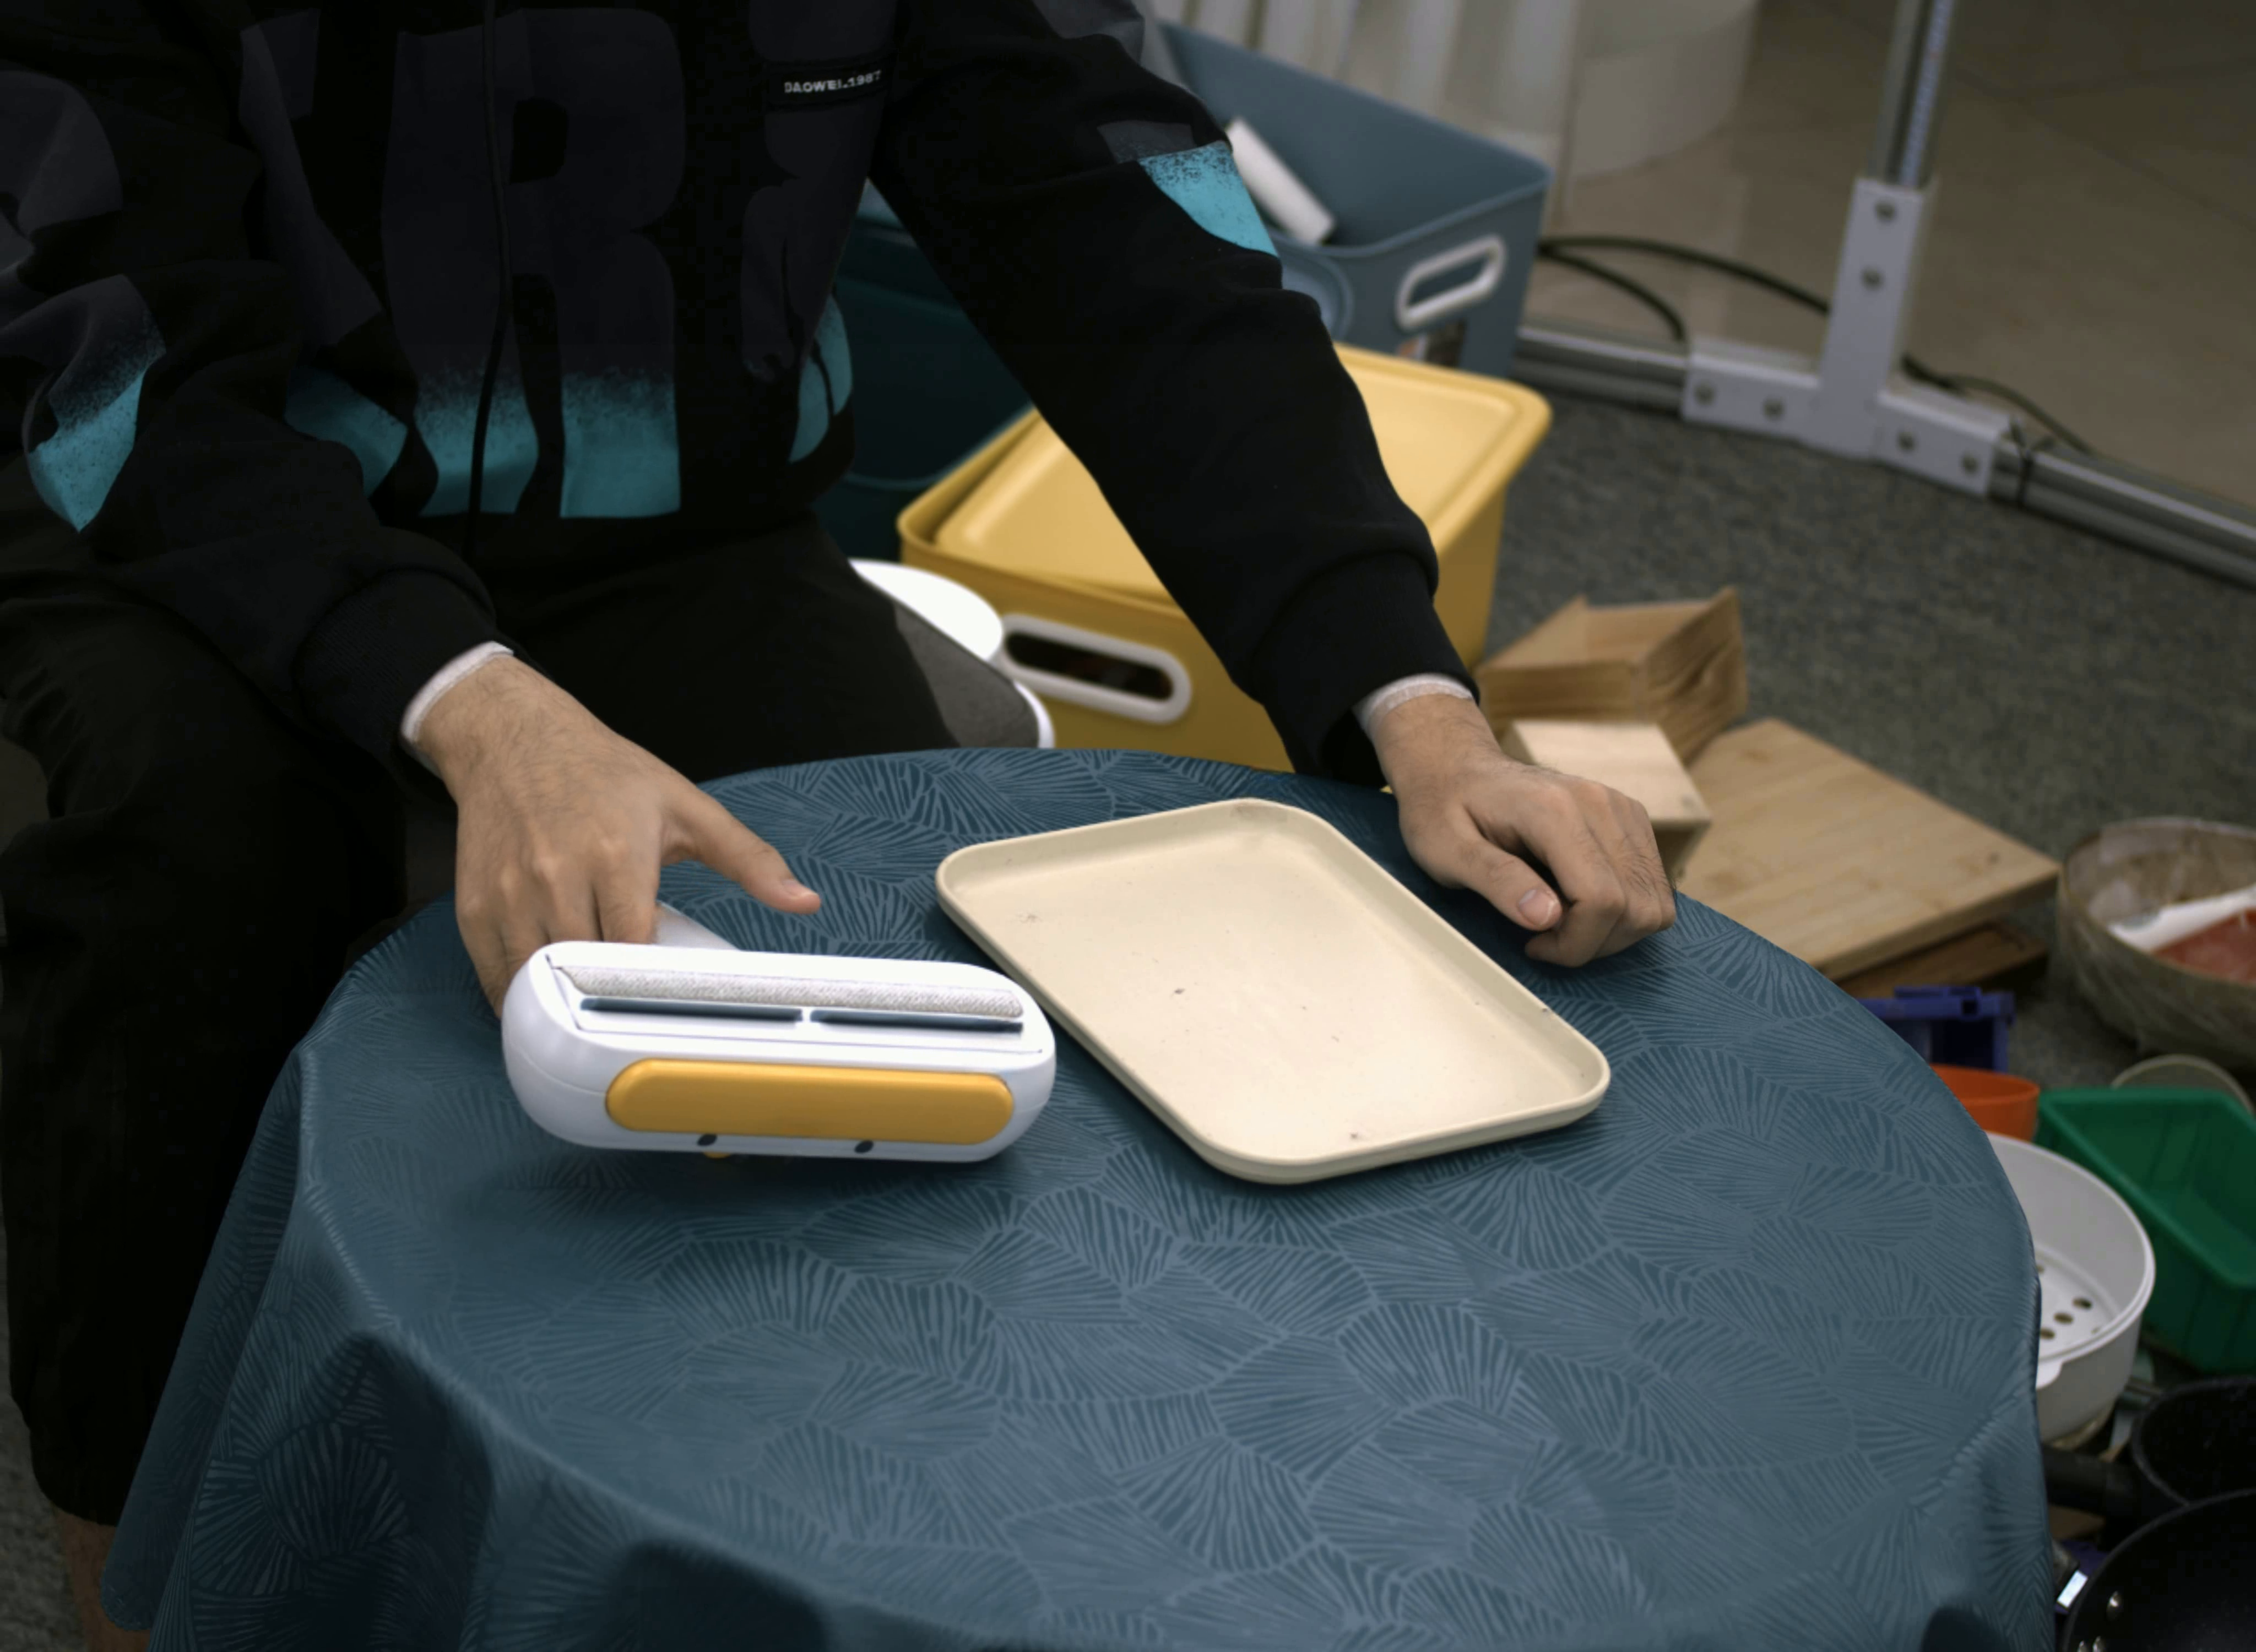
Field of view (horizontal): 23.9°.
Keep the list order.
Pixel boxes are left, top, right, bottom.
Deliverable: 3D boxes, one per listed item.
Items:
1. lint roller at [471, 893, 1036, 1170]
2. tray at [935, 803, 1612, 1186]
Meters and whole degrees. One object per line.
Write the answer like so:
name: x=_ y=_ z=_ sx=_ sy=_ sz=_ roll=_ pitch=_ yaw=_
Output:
lint roller: x=-0.144 y=0.057 z=1.824 sx=0.191 sy=0.074 sz=0.194 roll=1 pitch=25 yaw=-21
tray: x=0.049 y=0.059 z=1.918 sx=0.170 sy=0.017 sz=0.242 roll=-10 pitch=31 yaw=-29
